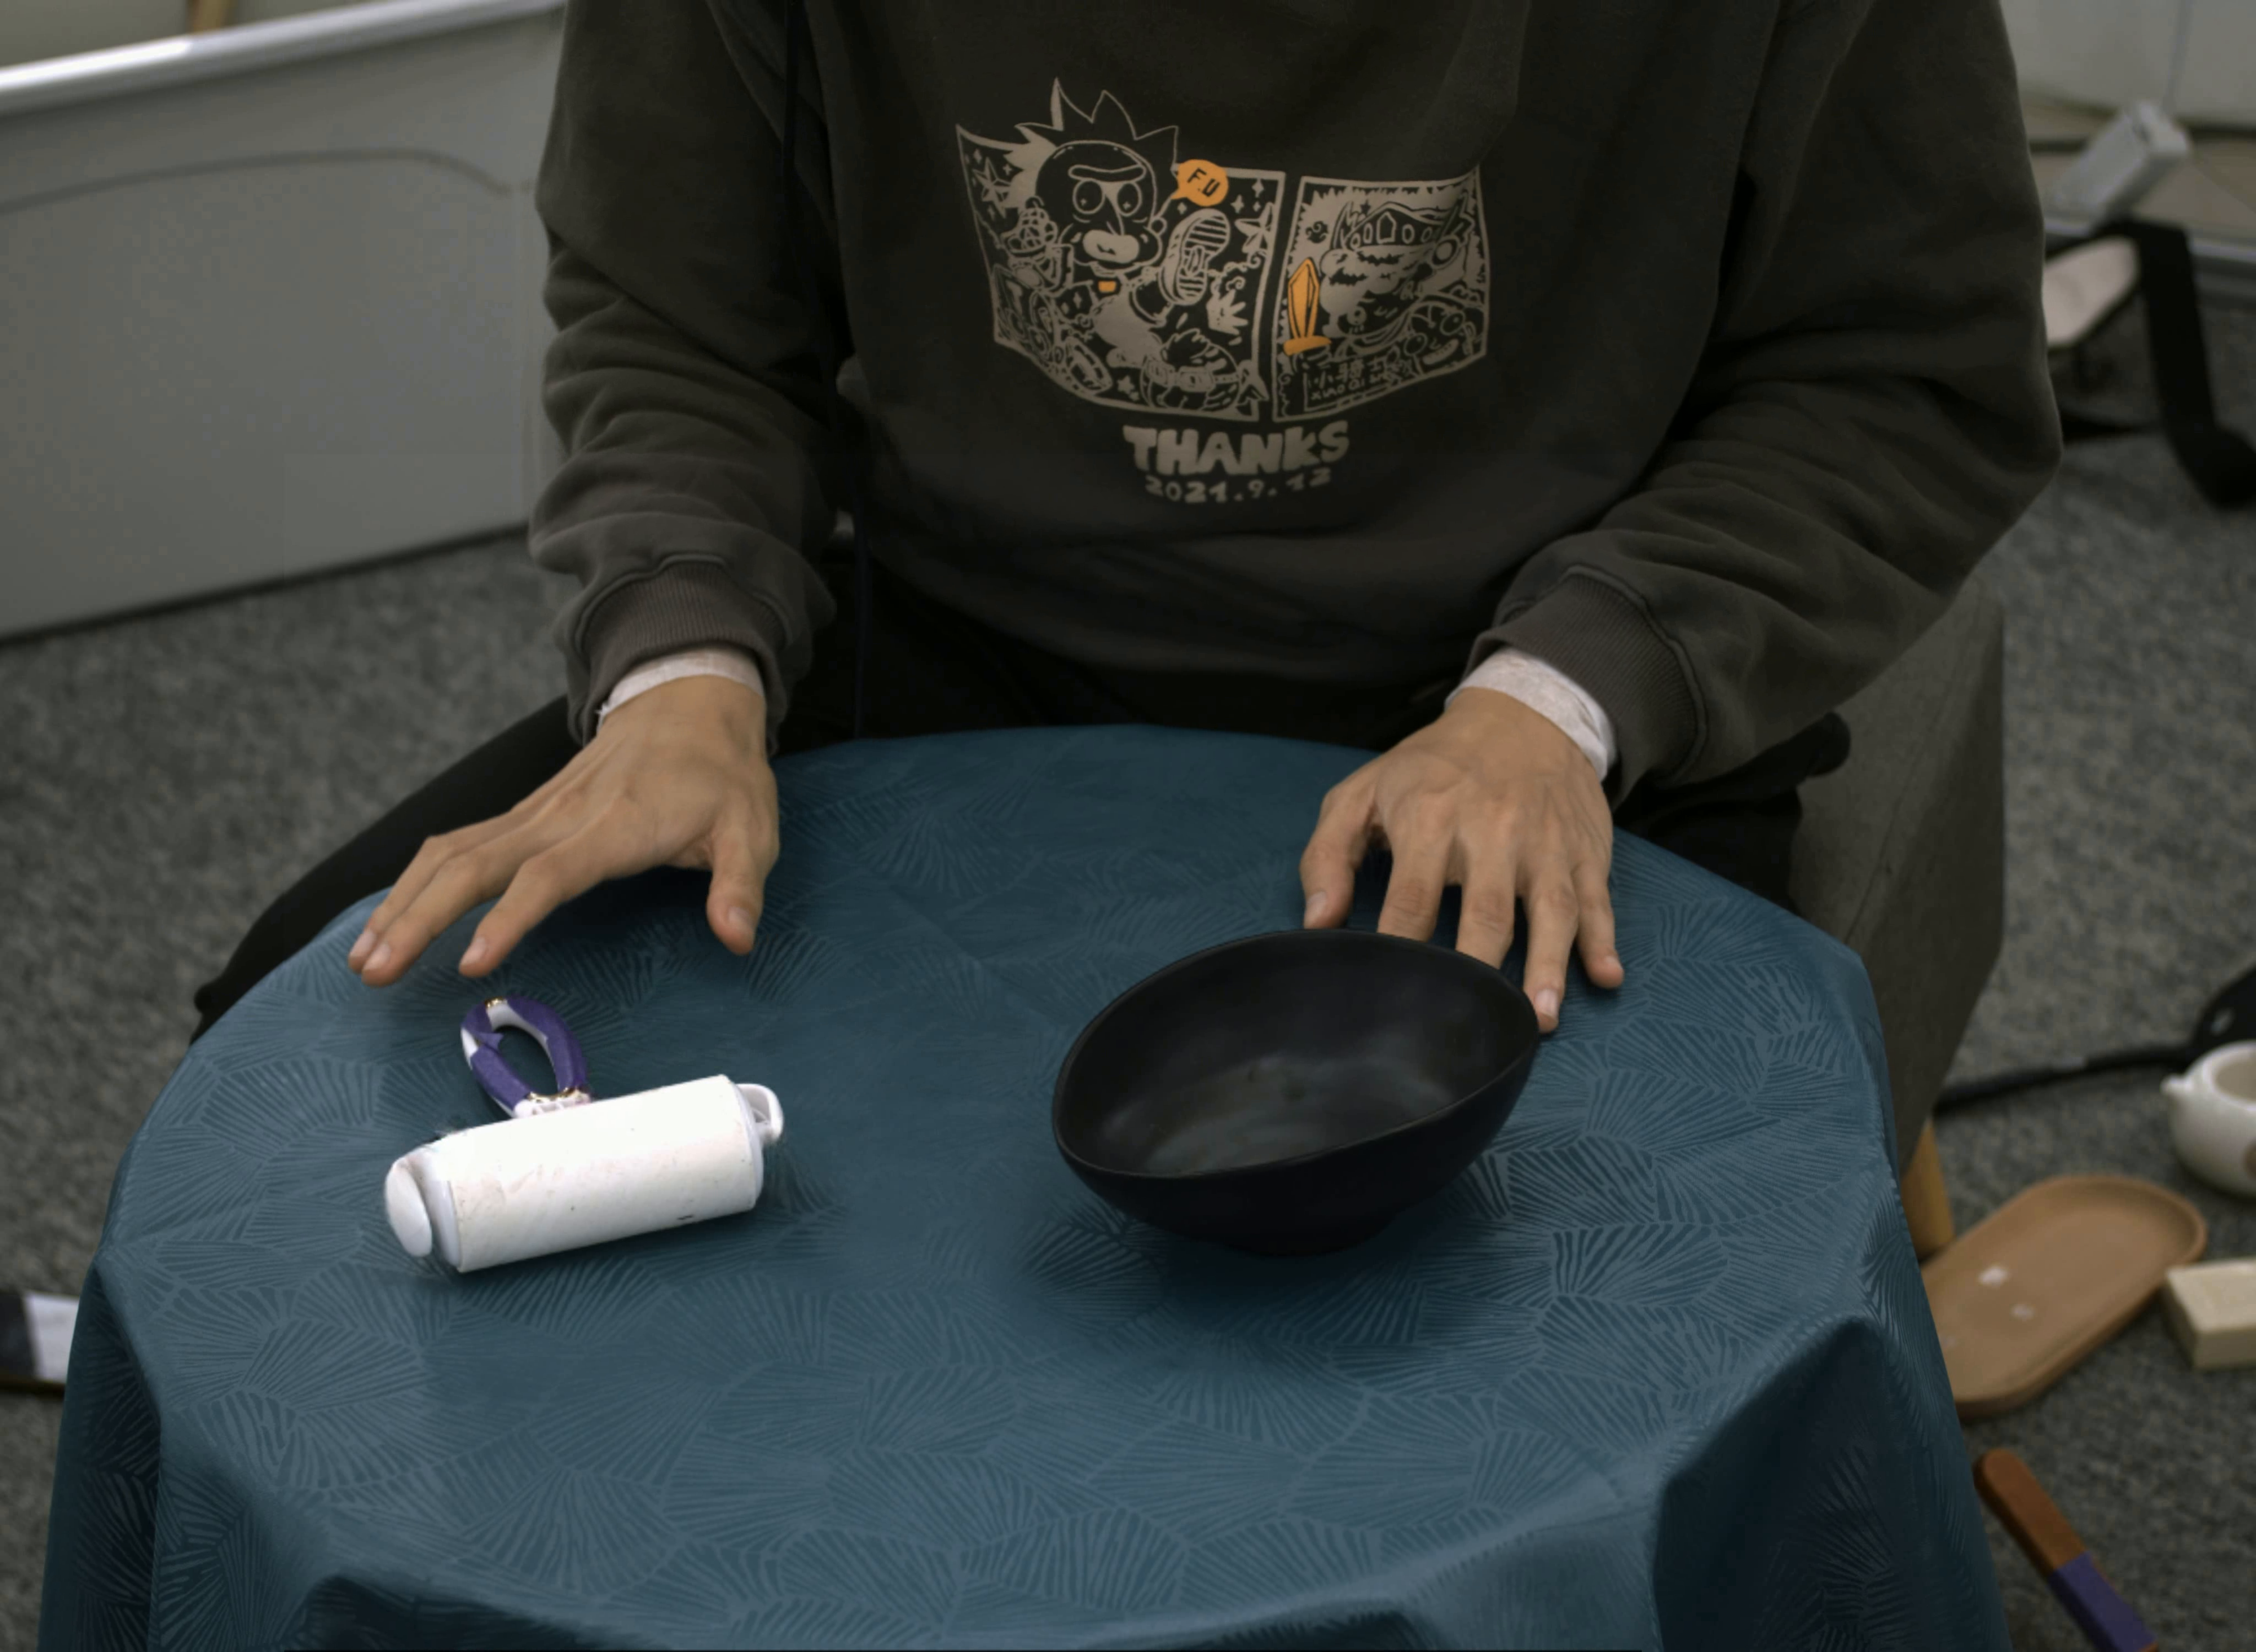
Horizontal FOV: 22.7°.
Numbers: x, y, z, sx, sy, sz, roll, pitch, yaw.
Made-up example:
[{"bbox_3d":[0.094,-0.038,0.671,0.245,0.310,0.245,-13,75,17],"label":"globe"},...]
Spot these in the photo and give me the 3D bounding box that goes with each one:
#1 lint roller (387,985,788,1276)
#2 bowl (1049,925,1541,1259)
[{"bbox_3d":[-0.194,0.085,1.898,0.133,0.049,0.183,-11,31,-13],"label":"lint roller"},{"bbox_3d":[0.057,0.097,1.834,0.171,0.066,0.137,-21,31,-27],"label":"bowl"}]
